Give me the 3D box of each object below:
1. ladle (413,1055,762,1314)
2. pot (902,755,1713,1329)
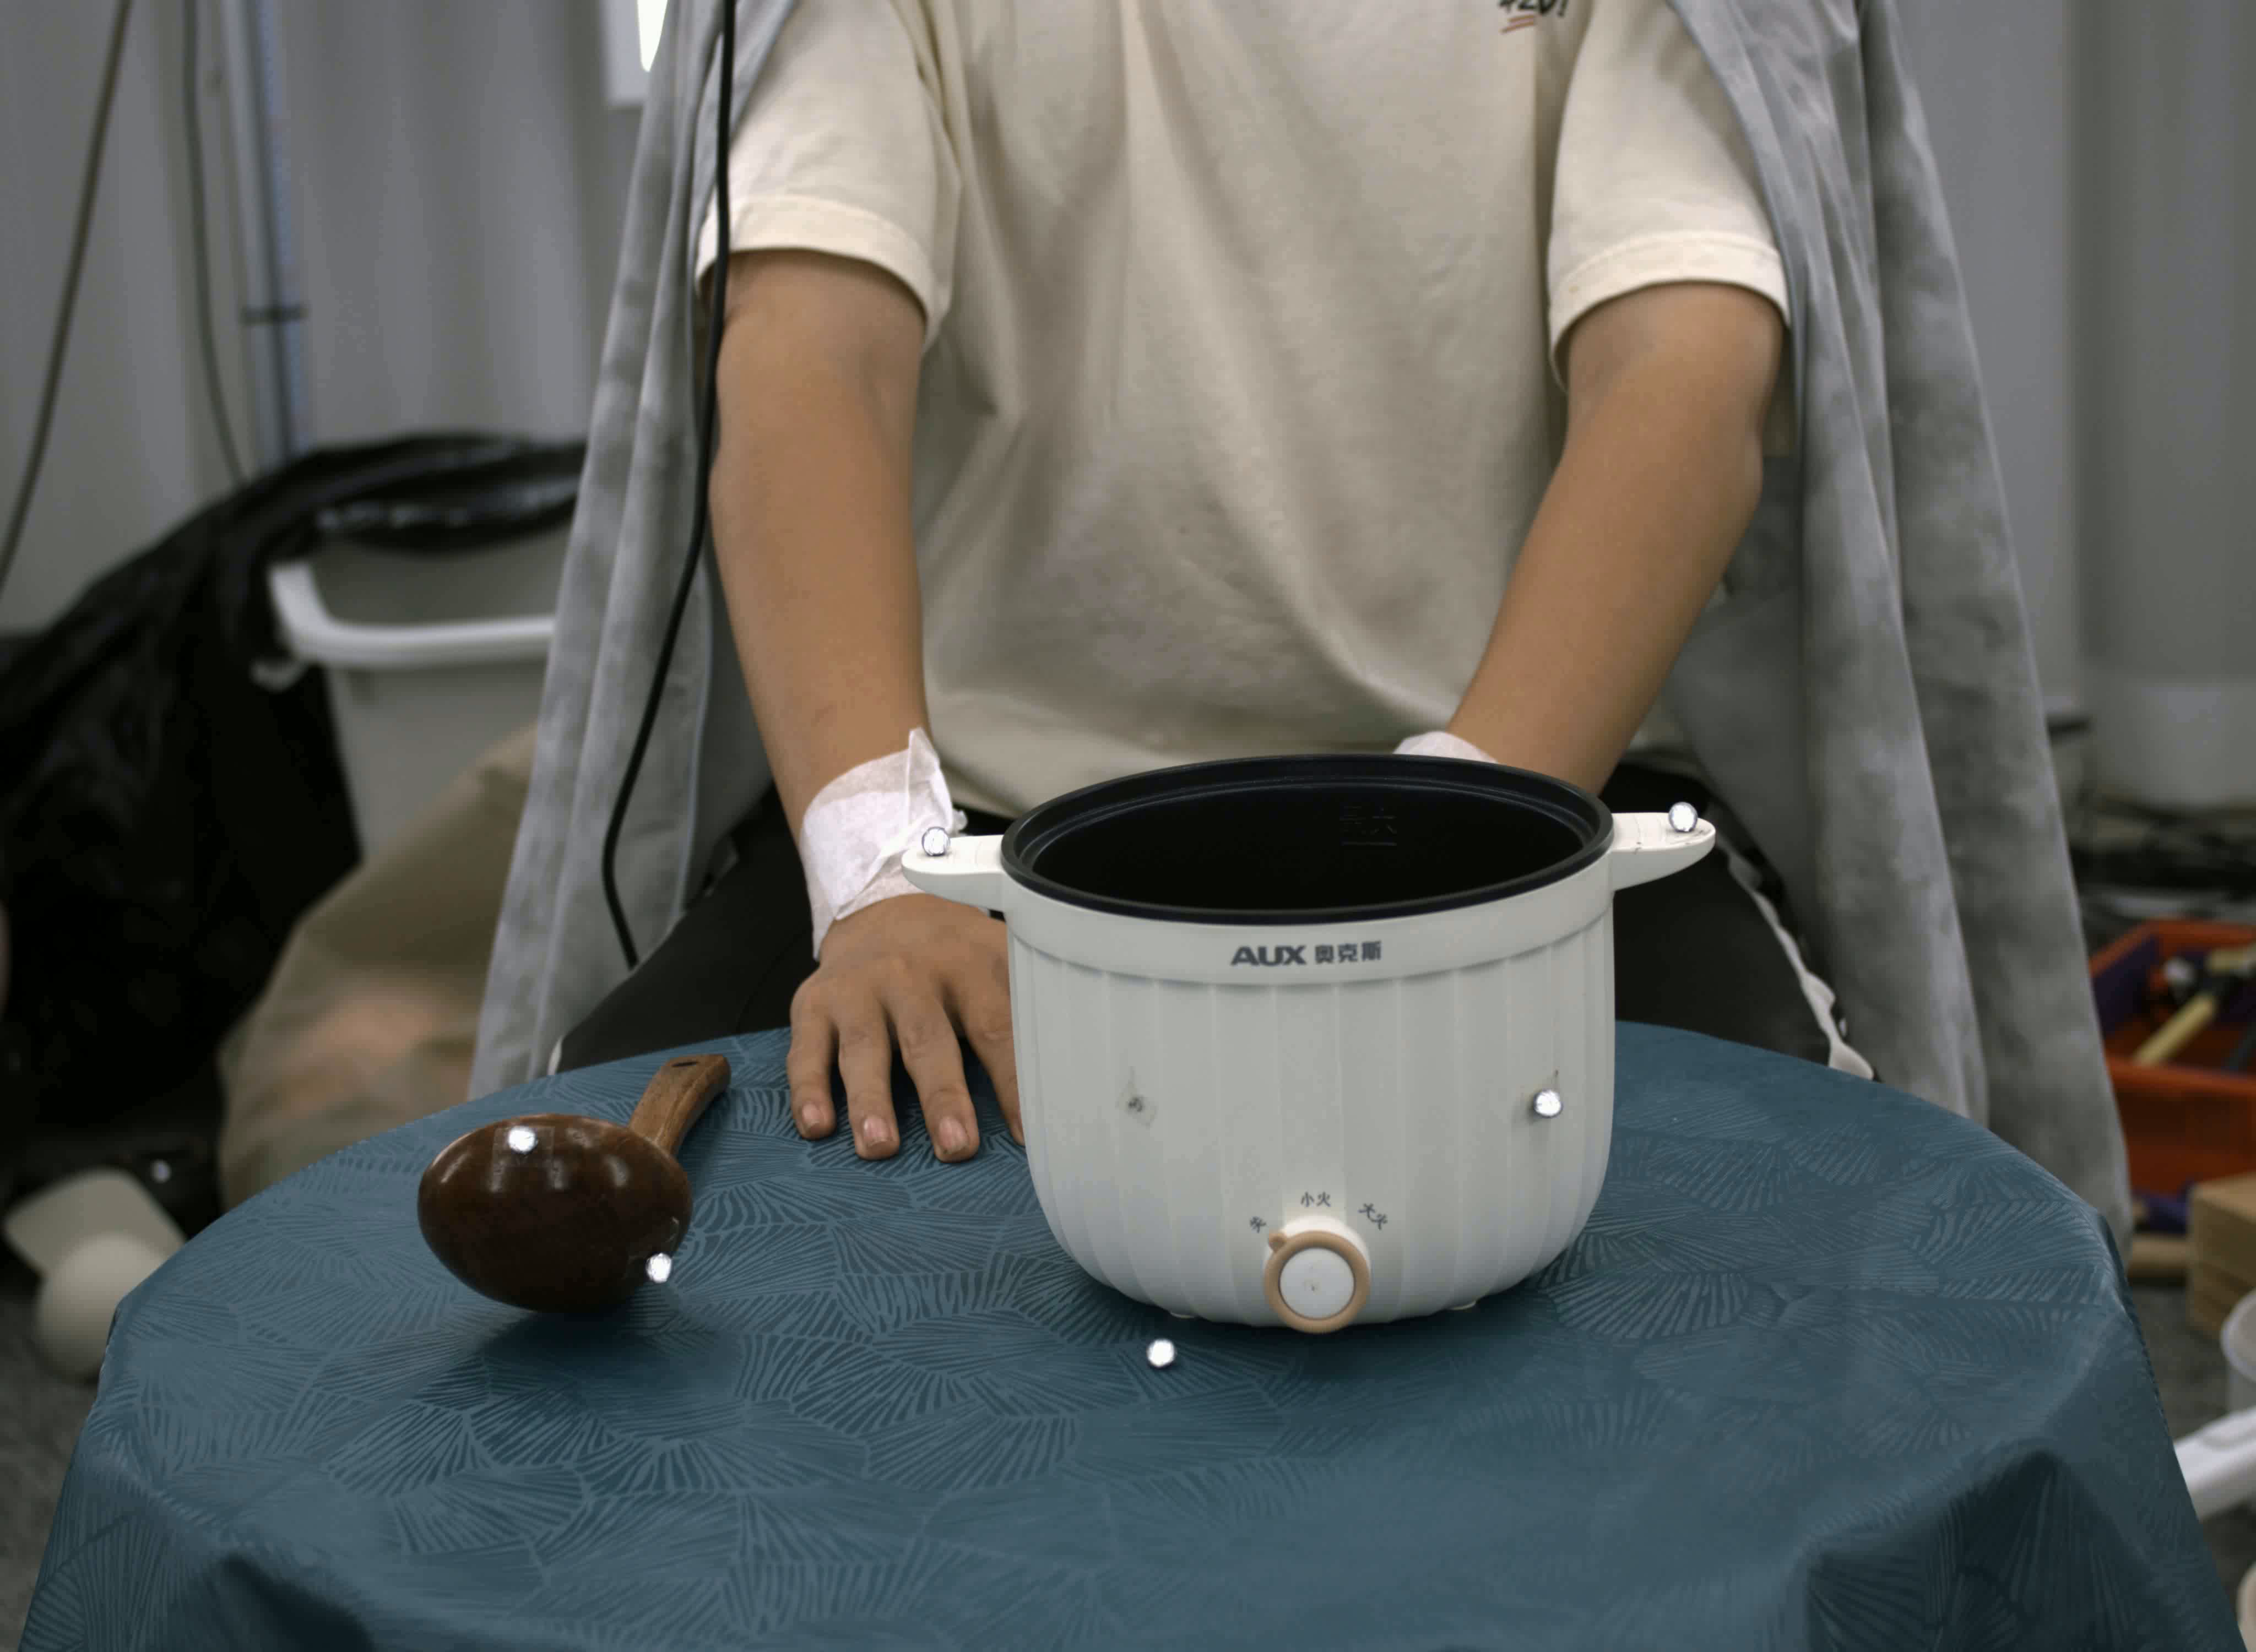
[{"bbox_3d":[-0.157,0.087,1.706,0.082,0.076,0.275,-4,15,8],"label":"ladle"},{"bbox_3d":[0.056,0.066,1.623,0.240,0.142,0.191,-3,11,3],"label":"pot"}]
